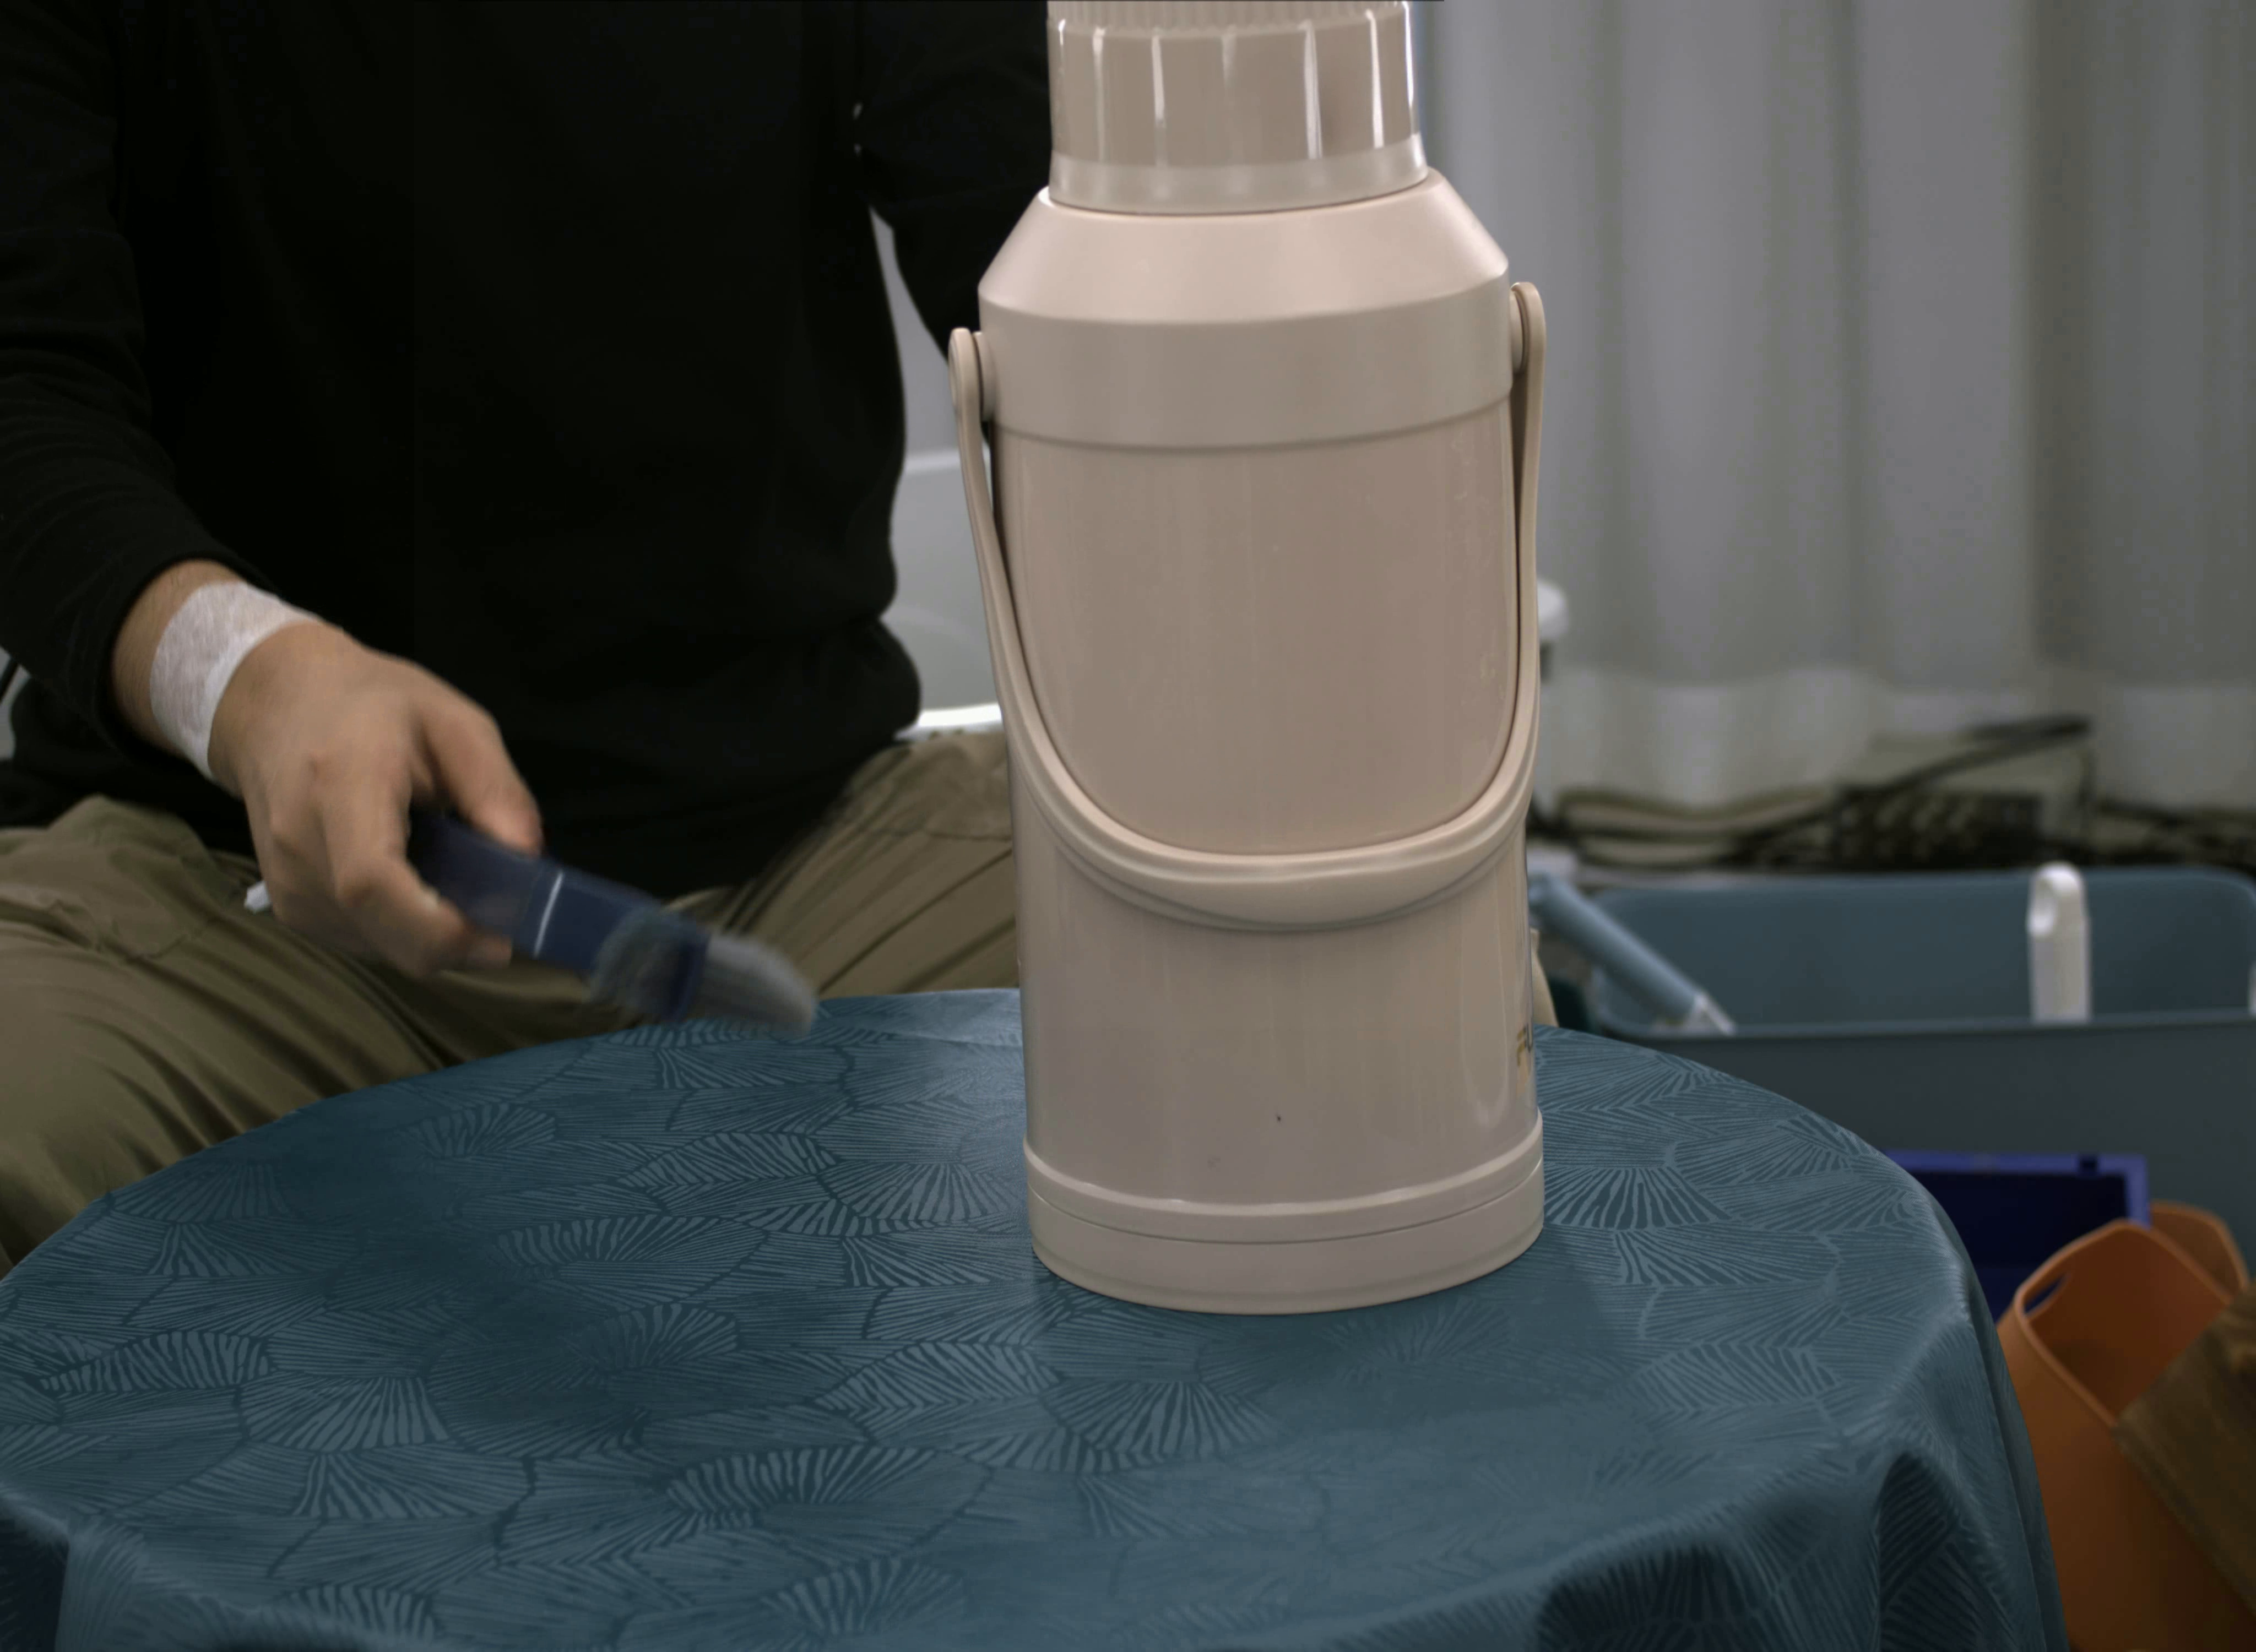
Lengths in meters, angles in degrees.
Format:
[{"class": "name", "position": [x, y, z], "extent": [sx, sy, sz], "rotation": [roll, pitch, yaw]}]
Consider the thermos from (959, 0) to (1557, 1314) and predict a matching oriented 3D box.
[{"class": "thermos", "position": [0.040, -0.072, 1.643], "extent": [0.174, 0.405, 0.208], "rotation": [-7, 14, -9]}]

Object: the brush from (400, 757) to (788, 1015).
[{"class": "brush", "position": [-0.171, 0.014, 1.548], "extent": [0.095, 0.033, 0.275], "rotation": [15, 3, -33]}]
